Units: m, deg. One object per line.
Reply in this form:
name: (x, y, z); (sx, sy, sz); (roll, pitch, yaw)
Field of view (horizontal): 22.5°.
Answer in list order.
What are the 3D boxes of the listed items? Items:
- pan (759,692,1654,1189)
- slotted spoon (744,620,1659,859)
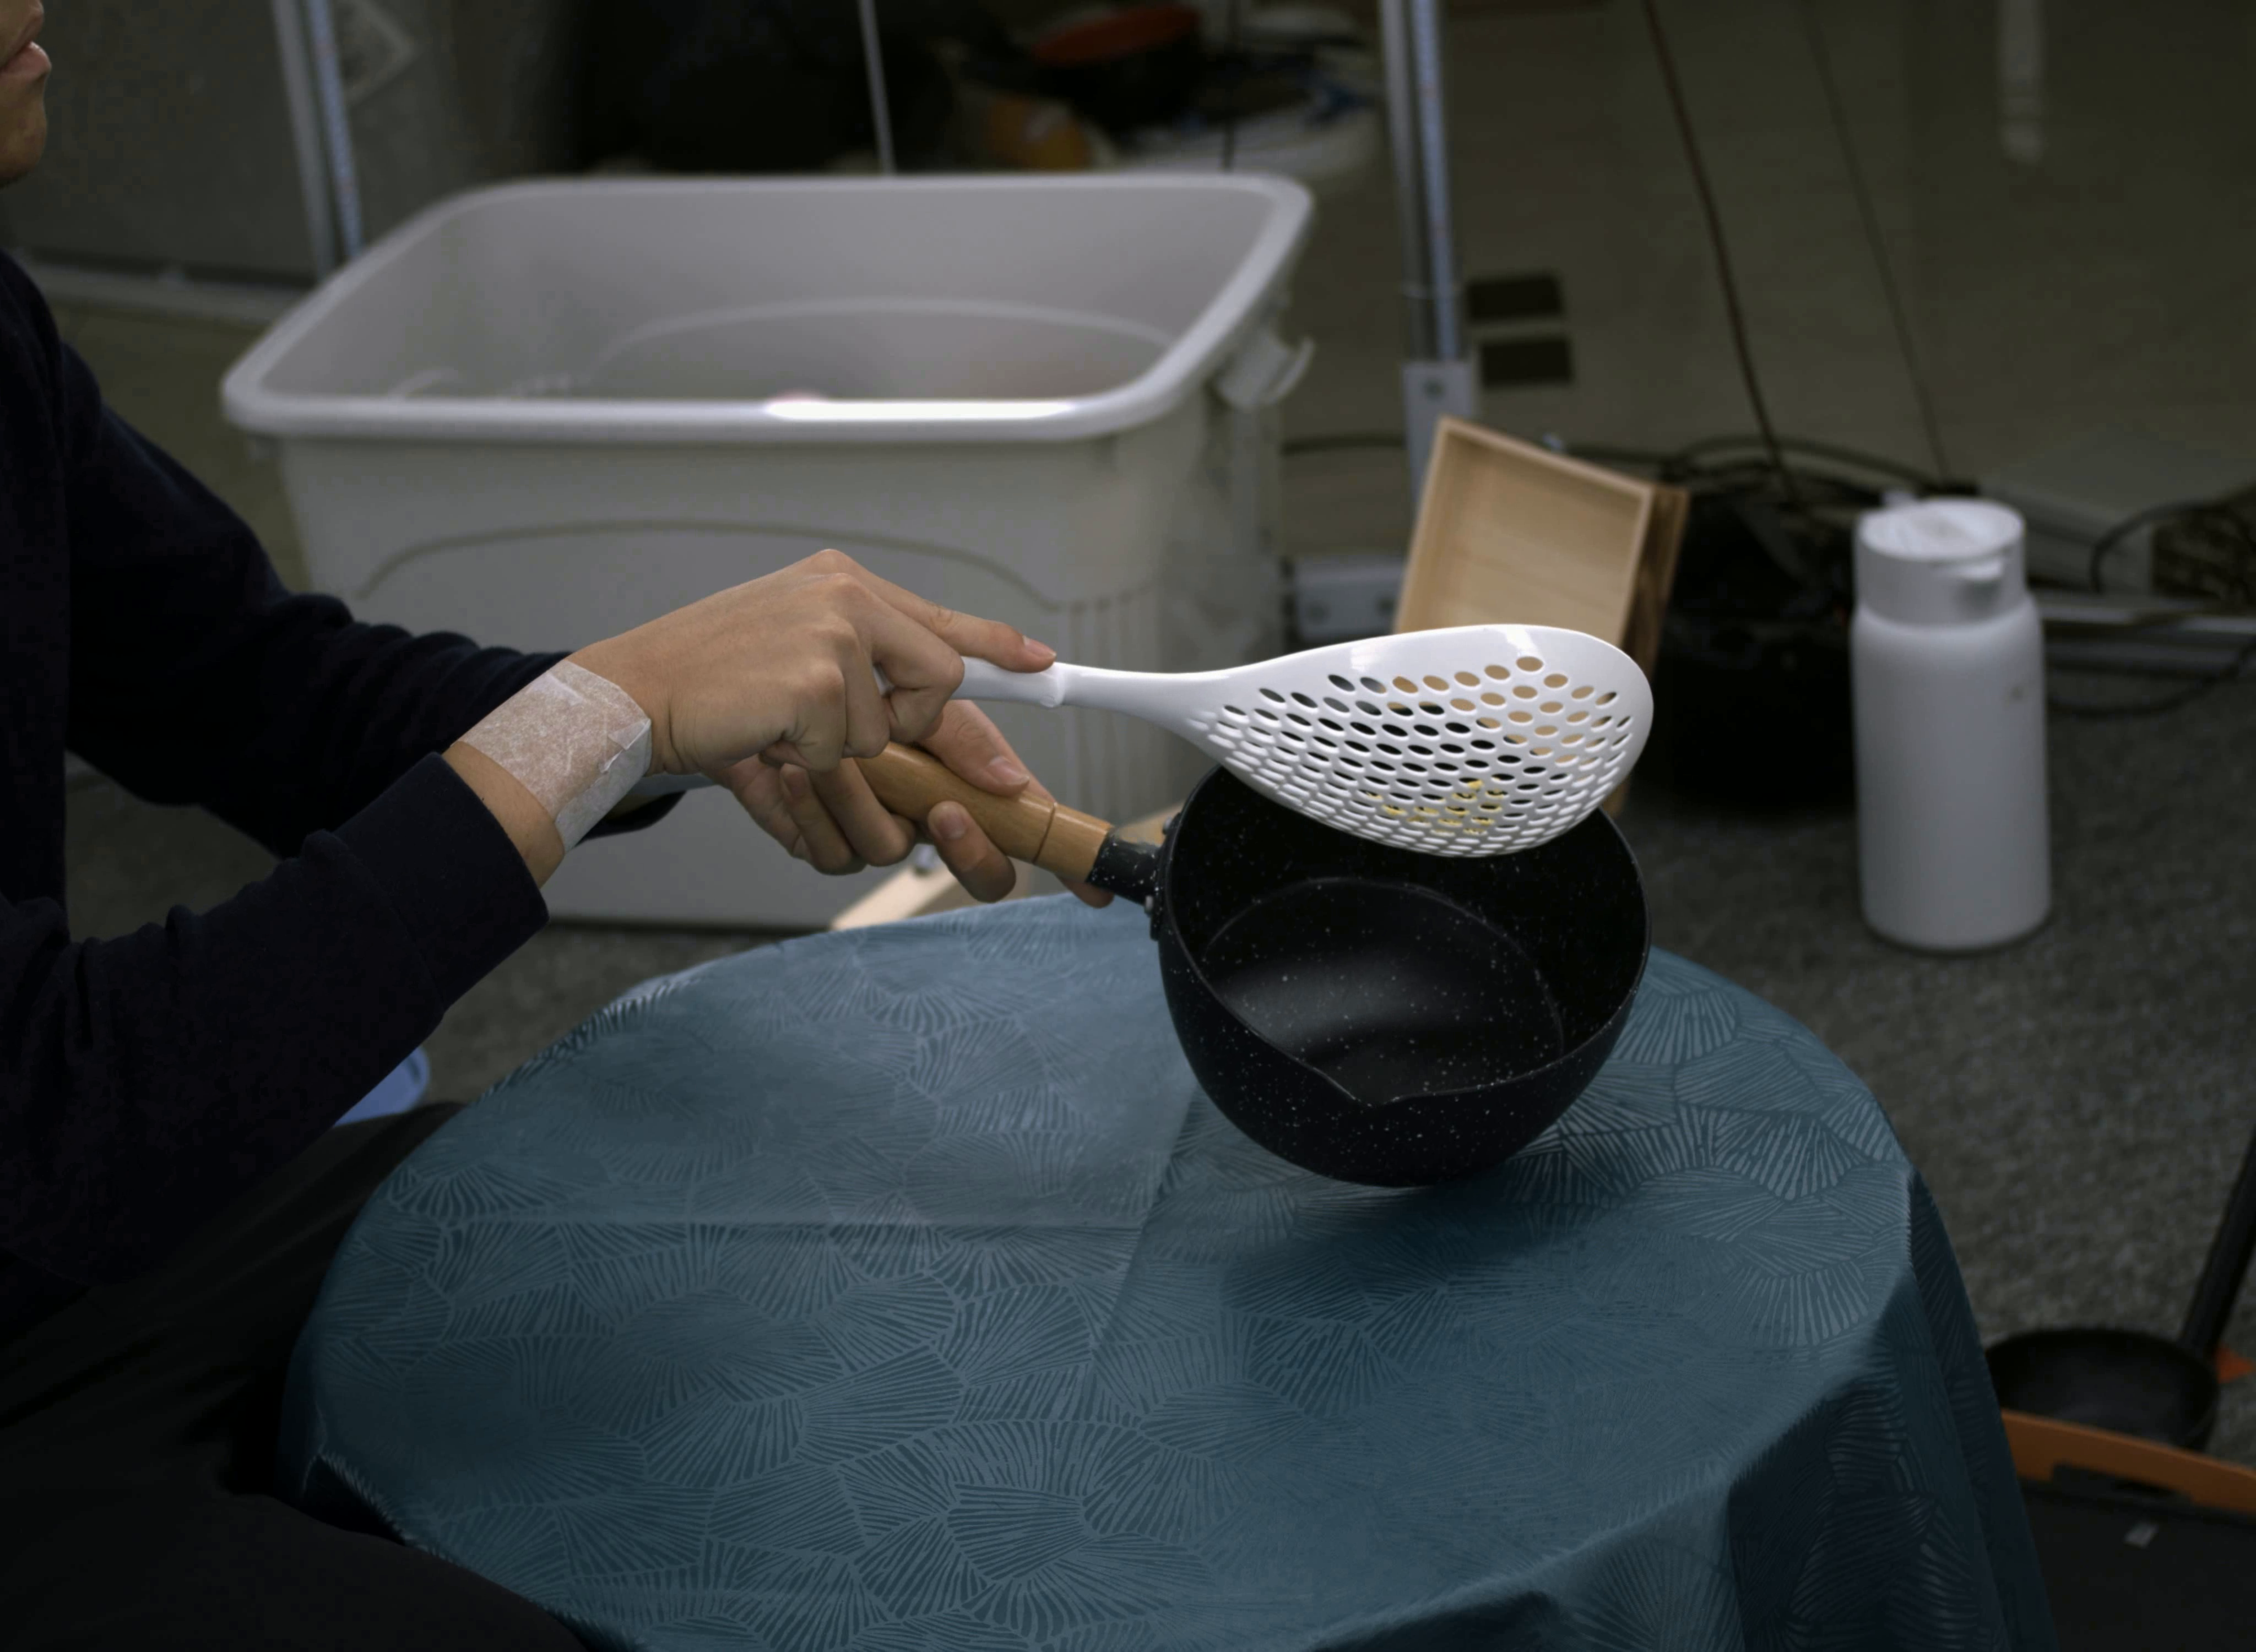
pan: (0.023, 0.029, 2.131); (0.342, 0.110, 0.204); (13, 51, 0)
slotted spoon: (0.027, -0.040, 2.067); (0.348, 0.139, 0.049); (11, 52, -16)
